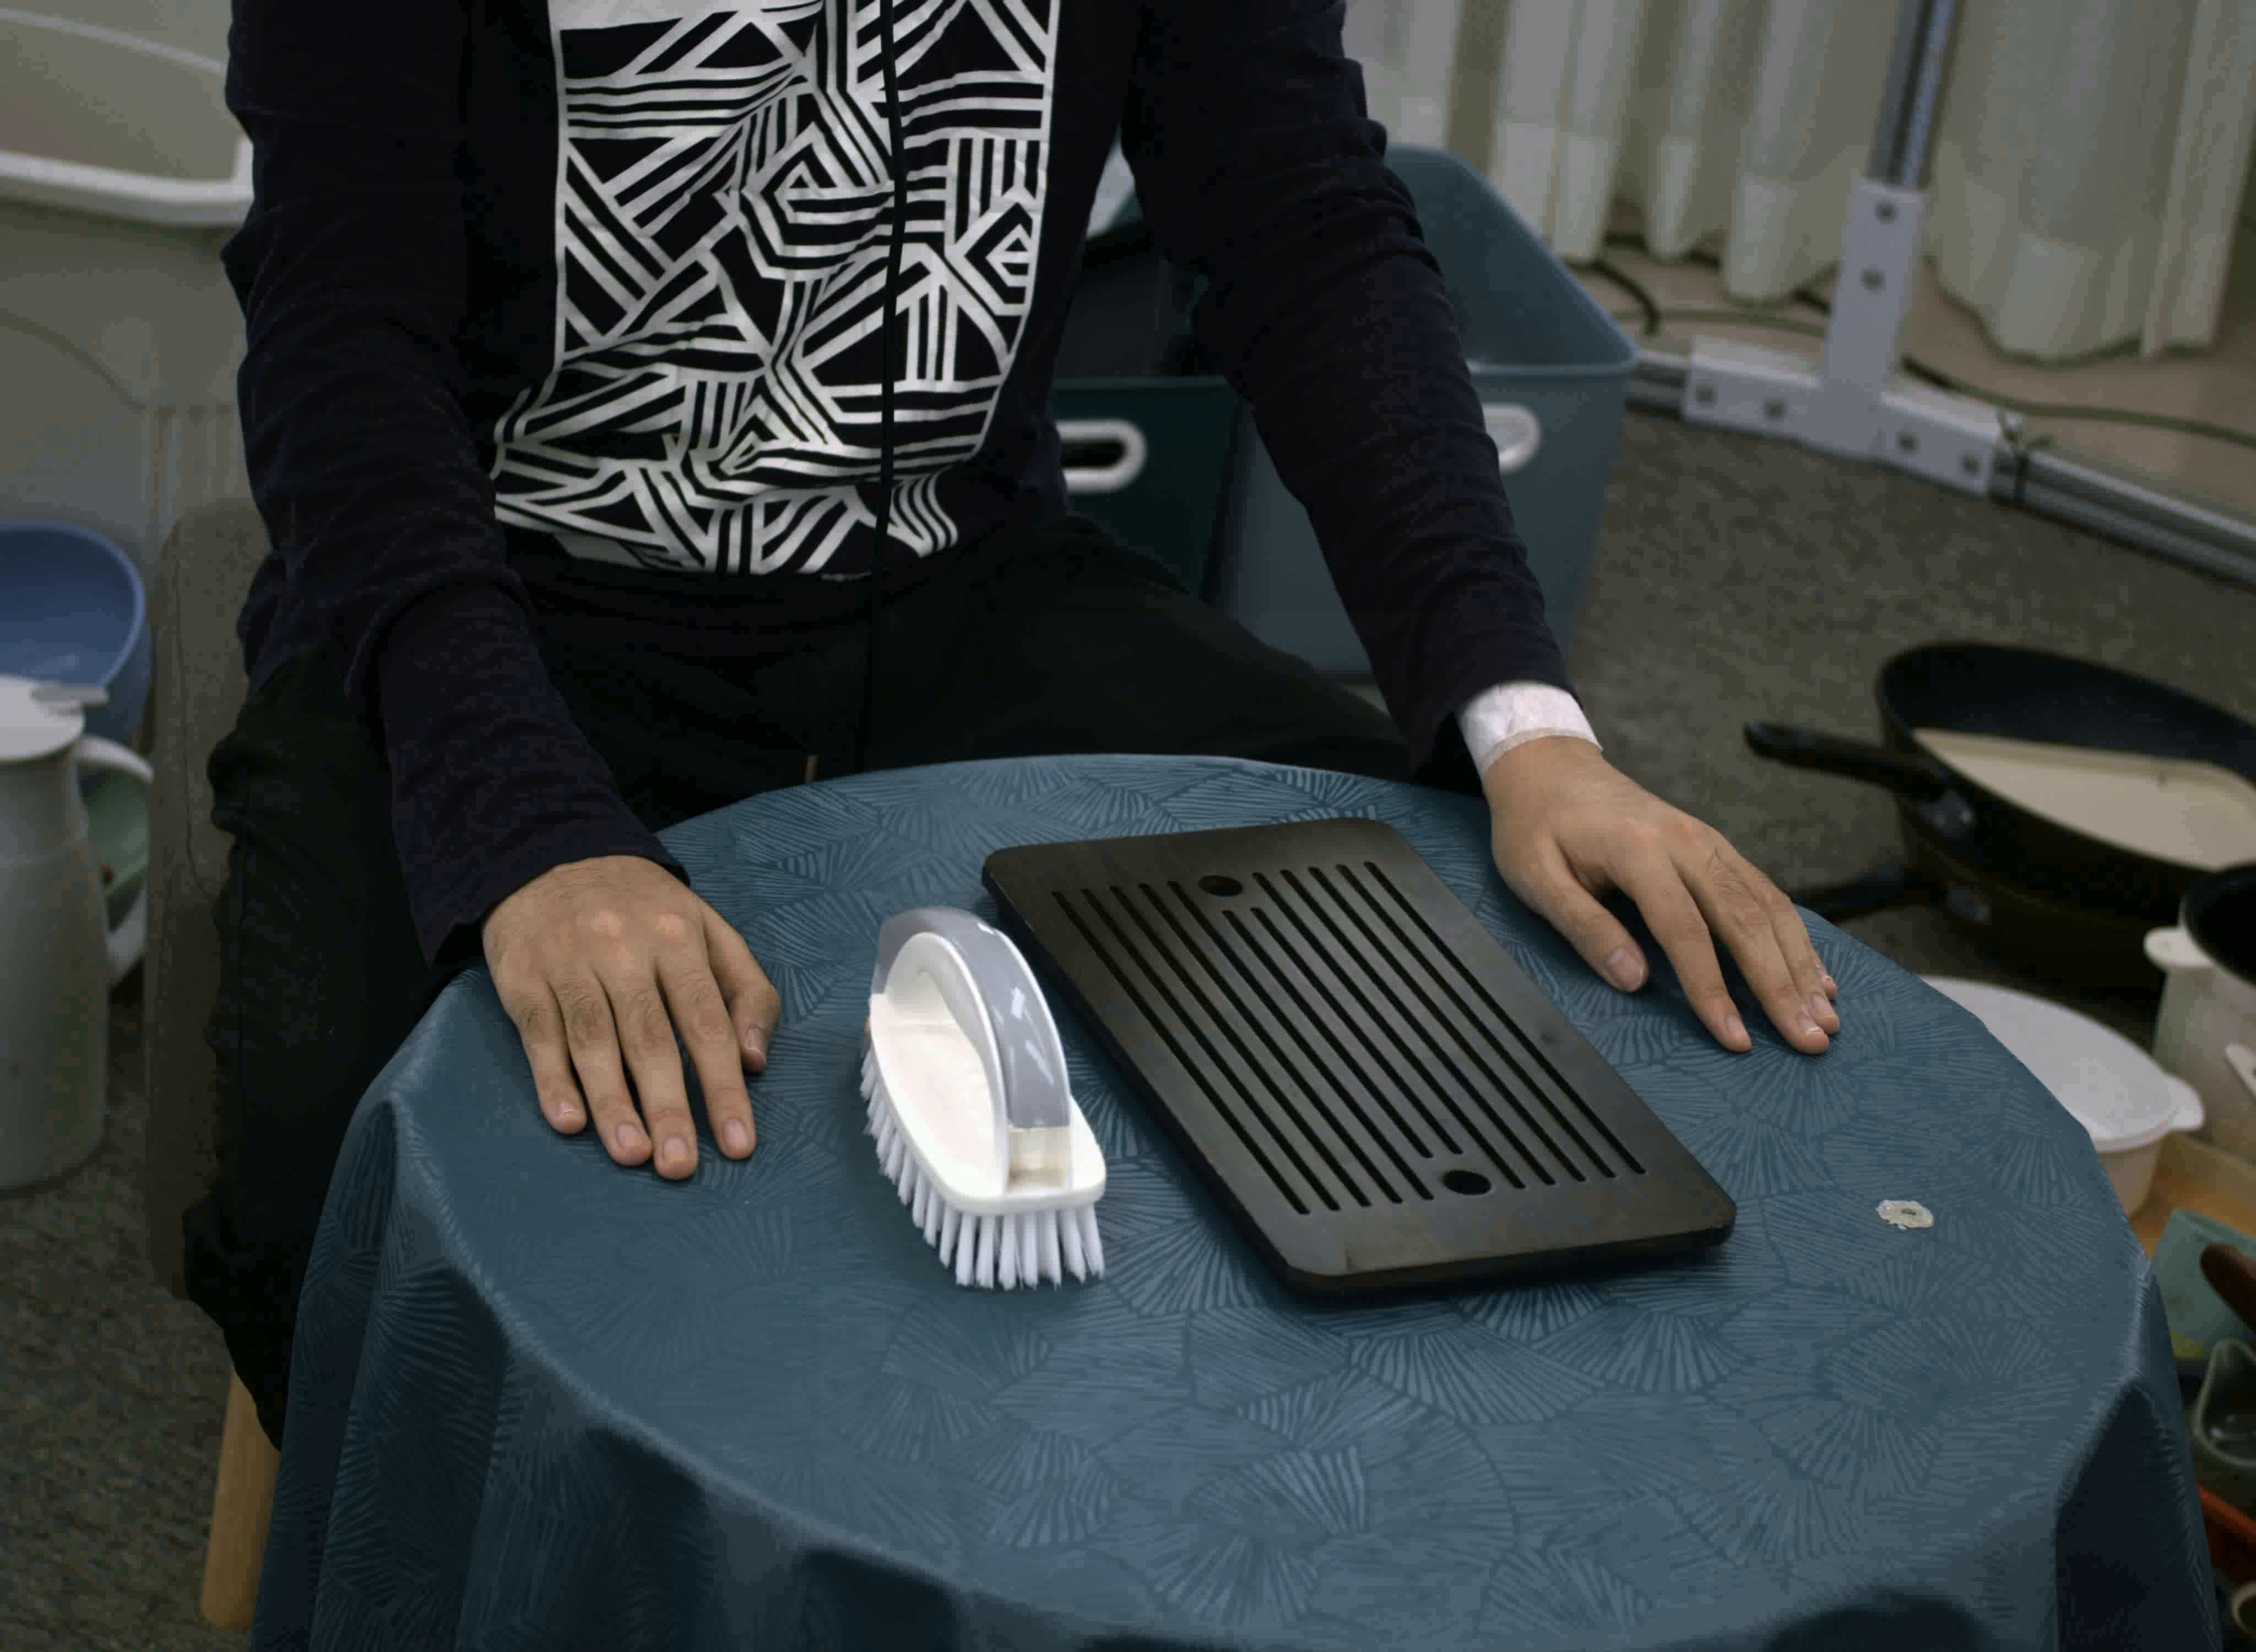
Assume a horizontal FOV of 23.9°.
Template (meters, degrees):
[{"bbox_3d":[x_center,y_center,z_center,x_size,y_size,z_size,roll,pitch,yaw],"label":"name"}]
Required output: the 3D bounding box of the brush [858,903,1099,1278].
[{"bbox_3d":[-0.057,0.073,1.793,0.061,0.094,0.177,-3,27,-18],"label":"brush"}]

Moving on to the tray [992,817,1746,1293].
[{"bbox_3d":[0.079,0.078,1.893,0.169,0.018,0.309,-5,29,-22],"label":"tray"}]
